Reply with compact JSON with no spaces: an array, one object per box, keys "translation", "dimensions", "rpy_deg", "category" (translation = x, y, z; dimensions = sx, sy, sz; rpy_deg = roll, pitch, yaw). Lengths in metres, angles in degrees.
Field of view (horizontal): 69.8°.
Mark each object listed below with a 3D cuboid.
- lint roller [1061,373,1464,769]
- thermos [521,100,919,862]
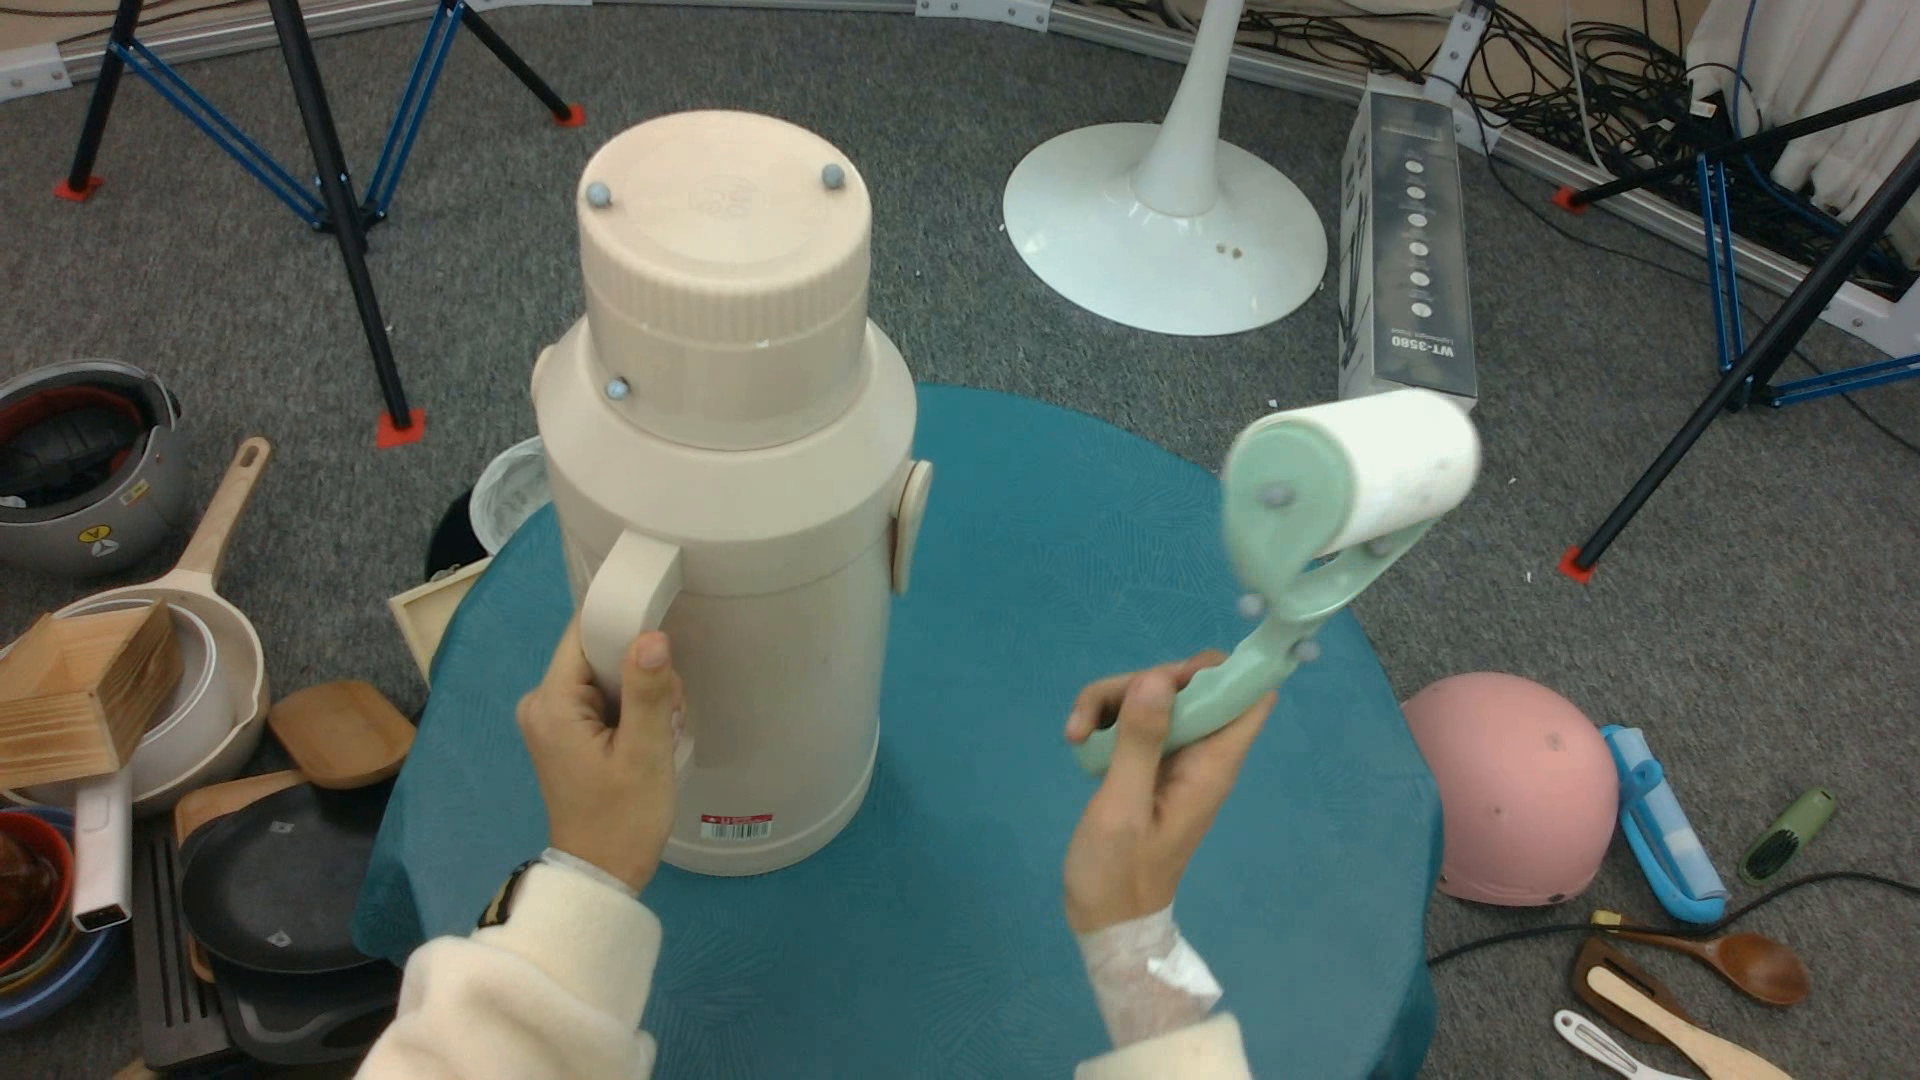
[{"translation":[0.099,0.026,0.502],"dimensions":[0.048,0.196,0.117],"rpy_deg":[43,31,22],"category":"lint roller"},{"translation":[-0.118,0.005,0.643],"dimensions":[0.175,0.404,0.208],"rpy_deg":[18,51,5],"category":"thermos"}]
